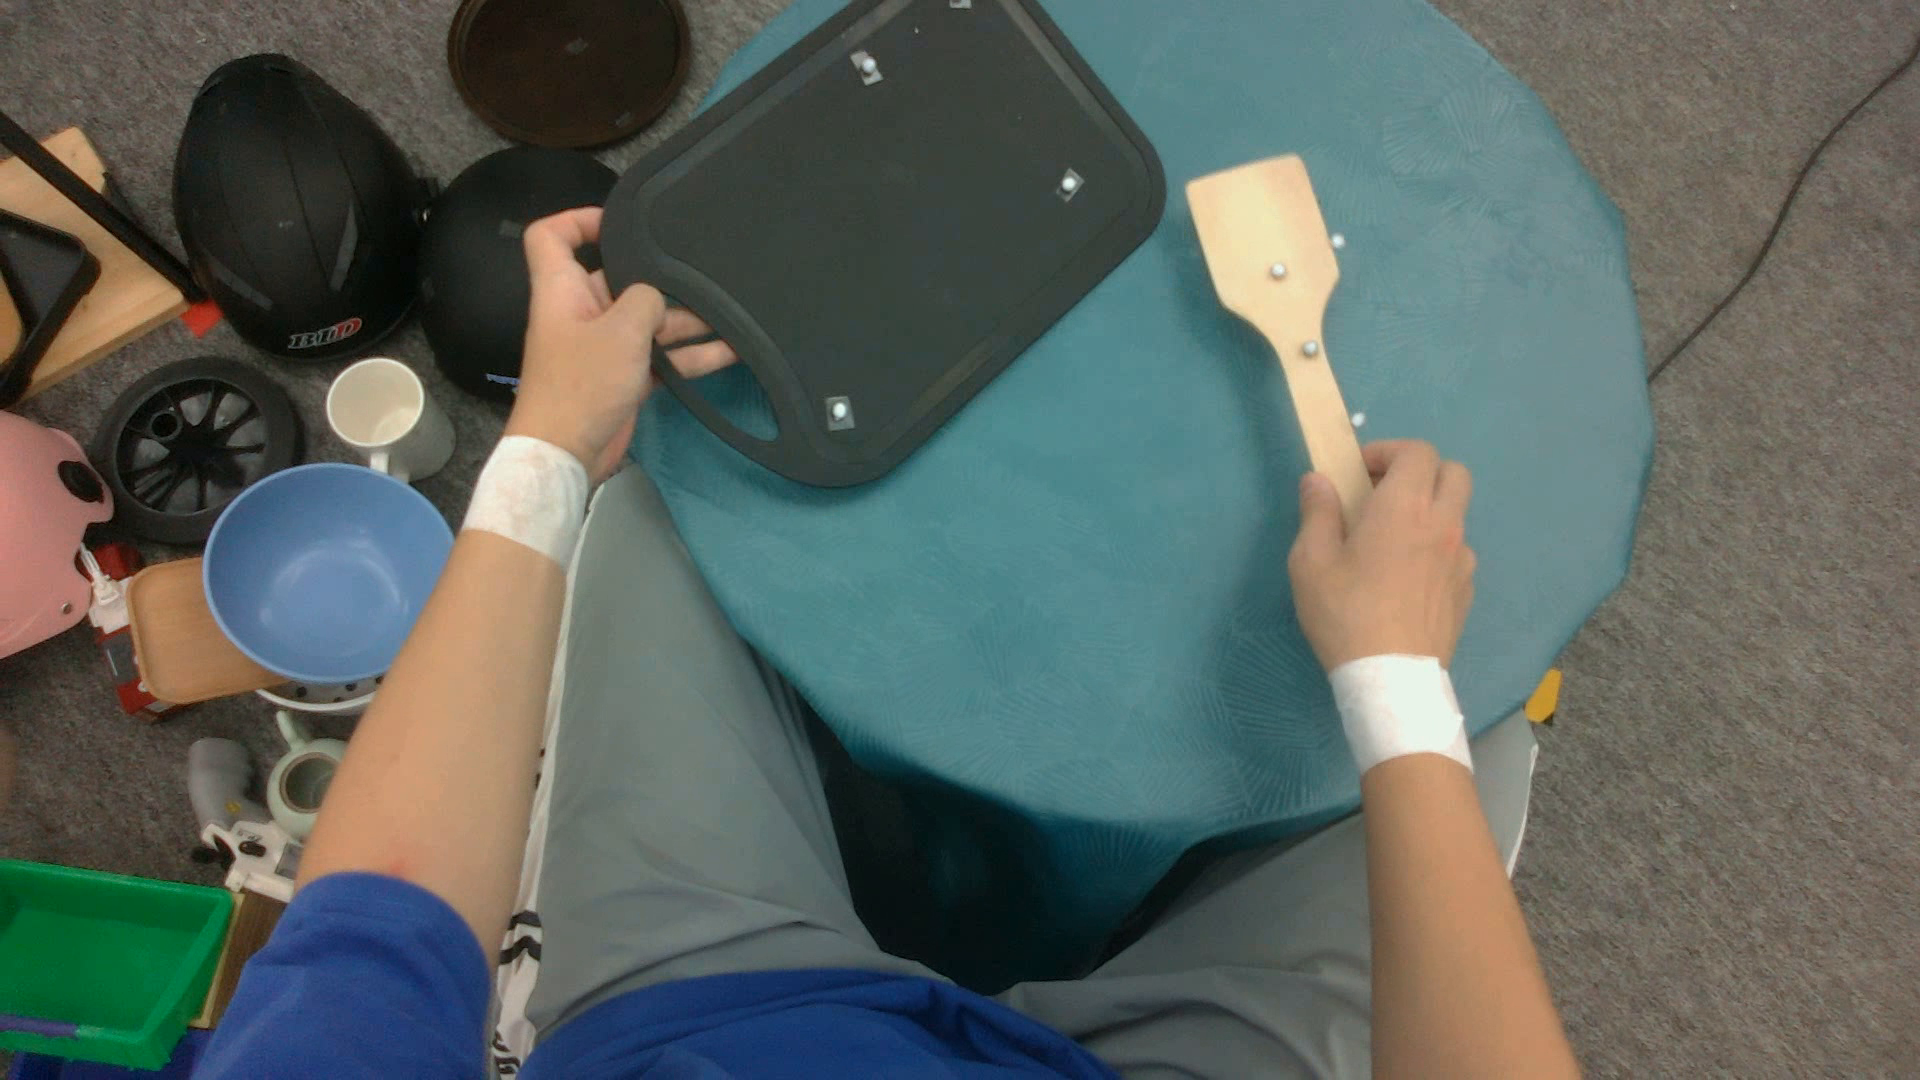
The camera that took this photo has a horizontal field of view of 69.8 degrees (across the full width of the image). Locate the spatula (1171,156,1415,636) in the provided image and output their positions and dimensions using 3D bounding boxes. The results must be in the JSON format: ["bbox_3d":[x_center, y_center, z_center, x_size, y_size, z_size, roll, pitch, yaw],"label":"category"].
[{"bbox_3d":[0.193,-0.085,0.767,0.072,0.010,0.293,-16,71,4],"label":"spatula"}]

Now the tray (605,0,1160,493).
[{"bbox_3d":[-0.039,-0.179,0.788,0.326,0.010,0.211,-44,96,-18],"label":"tray"}]
